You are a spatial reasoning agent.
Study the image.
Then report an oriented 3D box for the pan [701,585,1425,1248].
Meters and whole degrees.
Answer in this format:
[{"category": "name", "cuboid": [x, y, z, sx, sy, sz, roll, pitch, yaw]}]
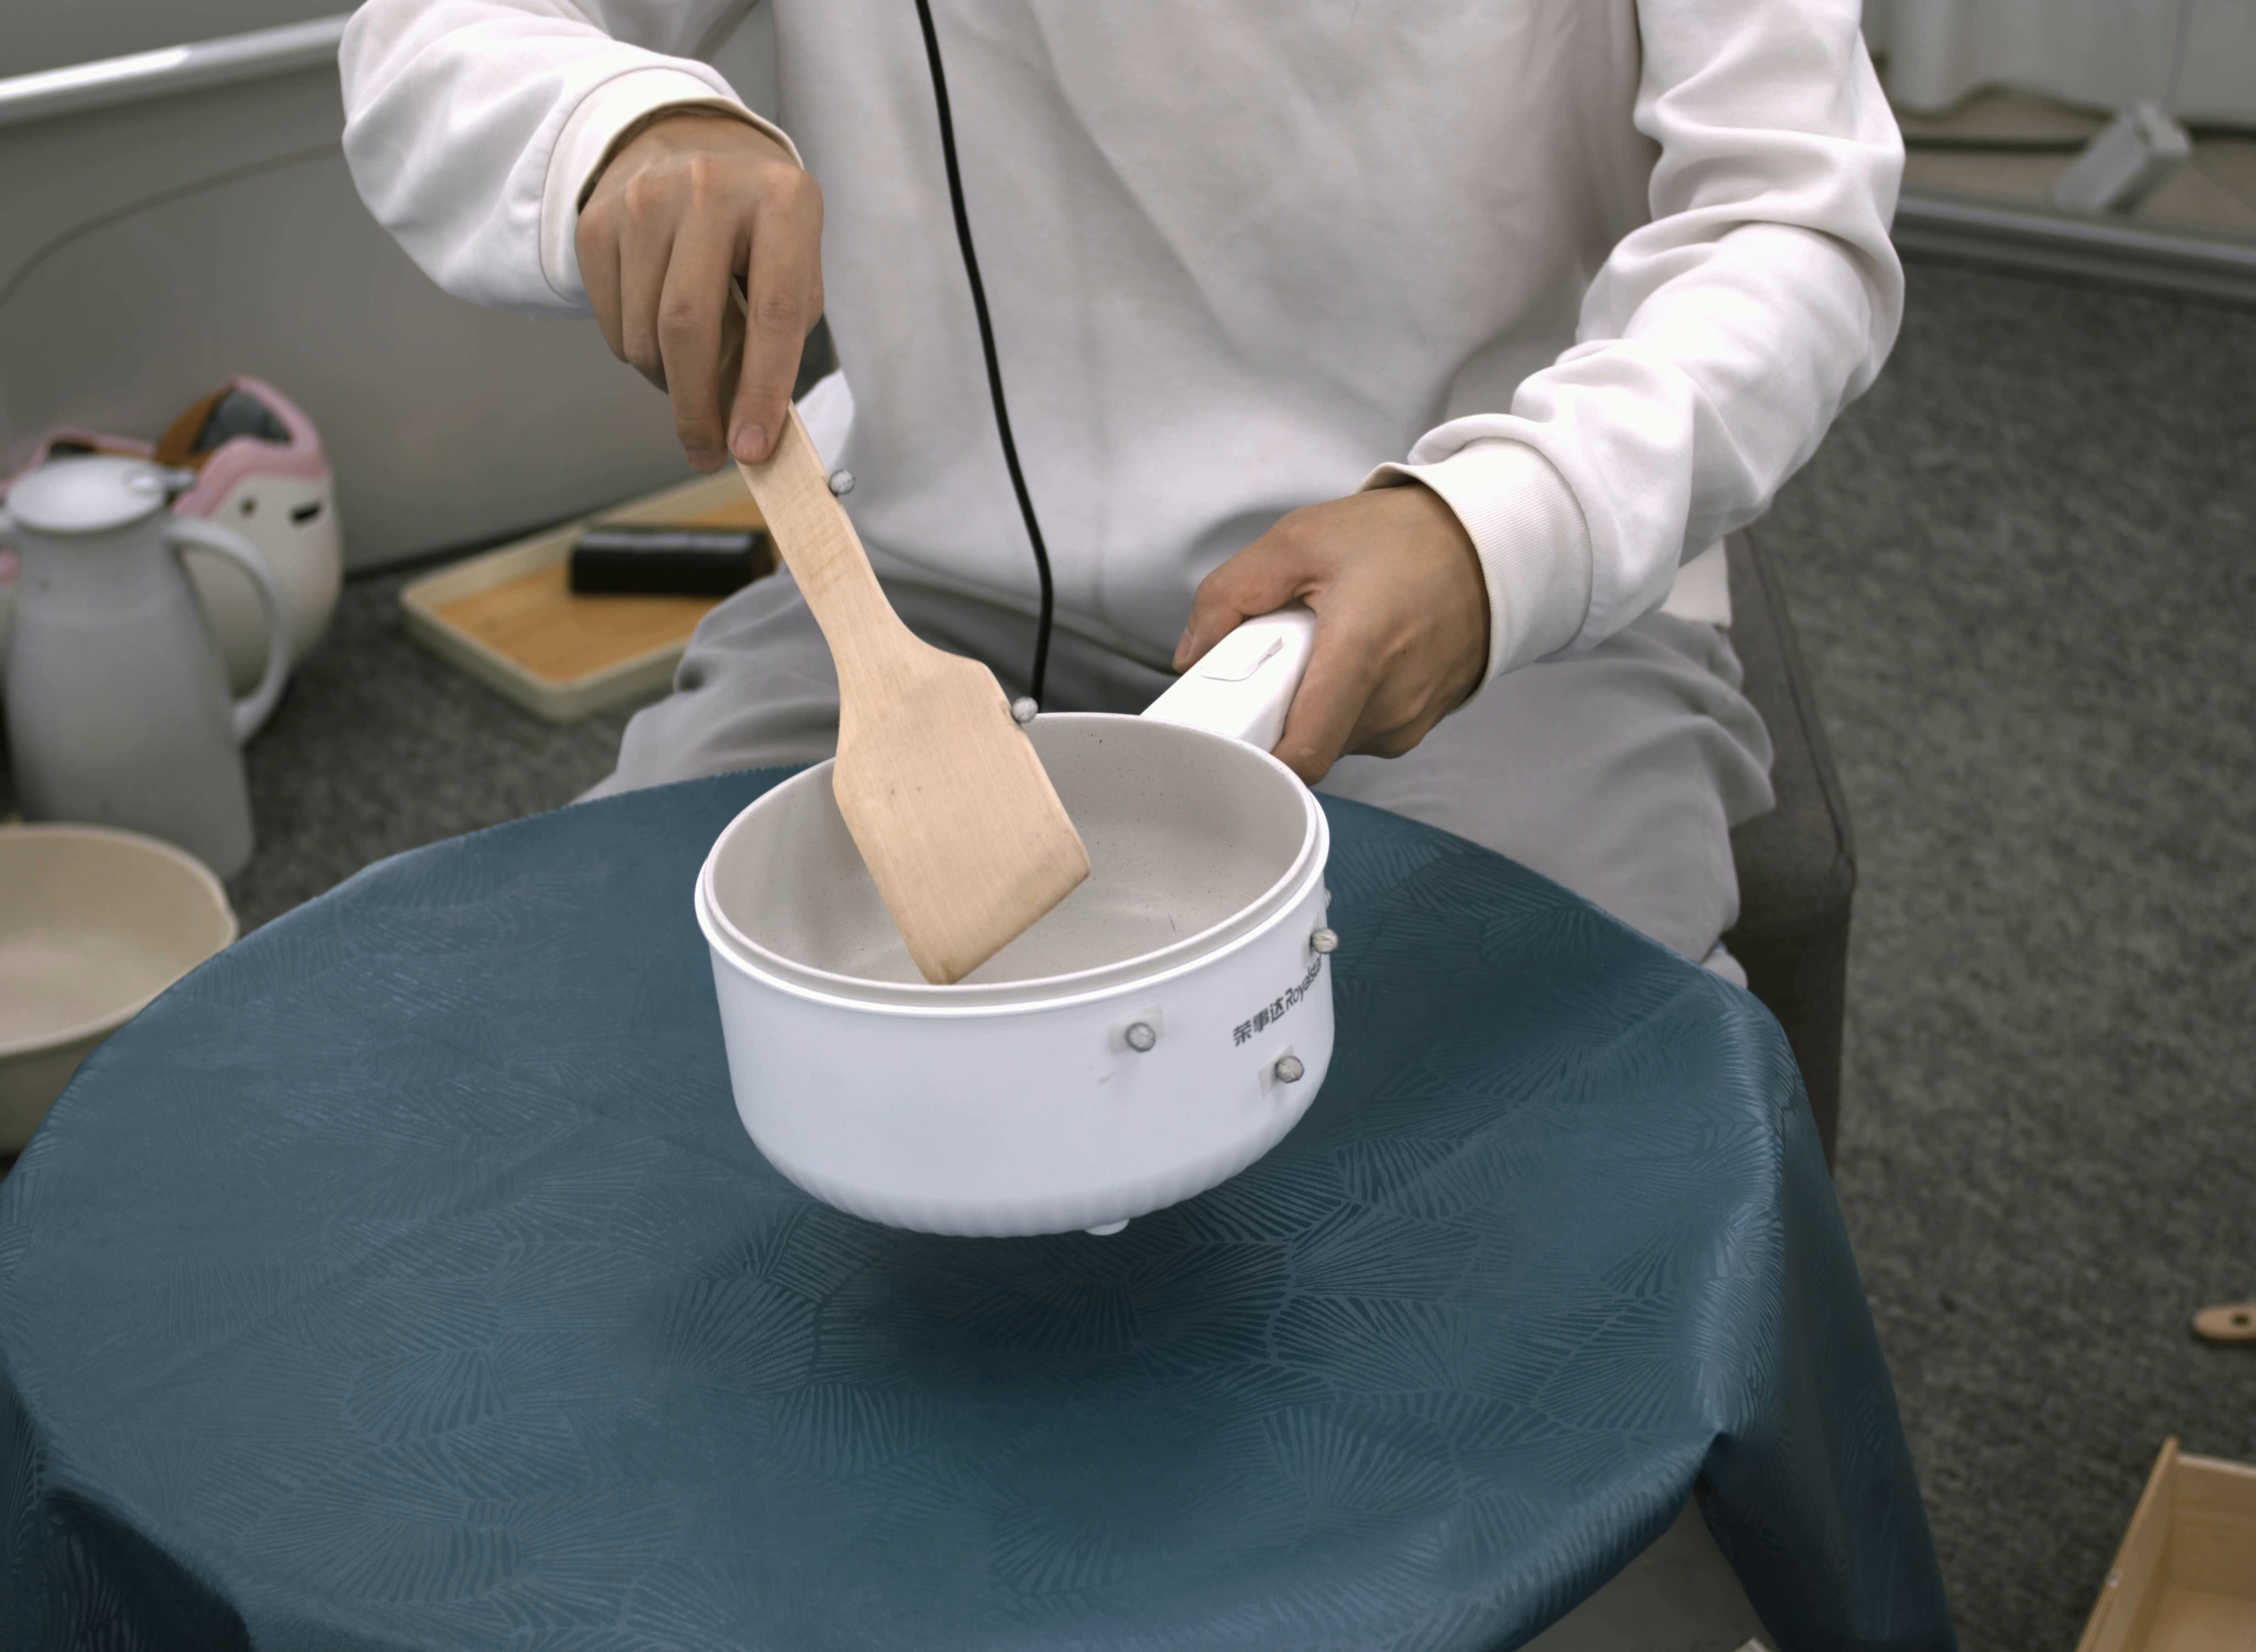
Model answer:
[{"category": "pan", "cuboid": [0.006, 0.027, 1.854, 0.199, 0.101, 0.360, 4, 24, 29]}]
